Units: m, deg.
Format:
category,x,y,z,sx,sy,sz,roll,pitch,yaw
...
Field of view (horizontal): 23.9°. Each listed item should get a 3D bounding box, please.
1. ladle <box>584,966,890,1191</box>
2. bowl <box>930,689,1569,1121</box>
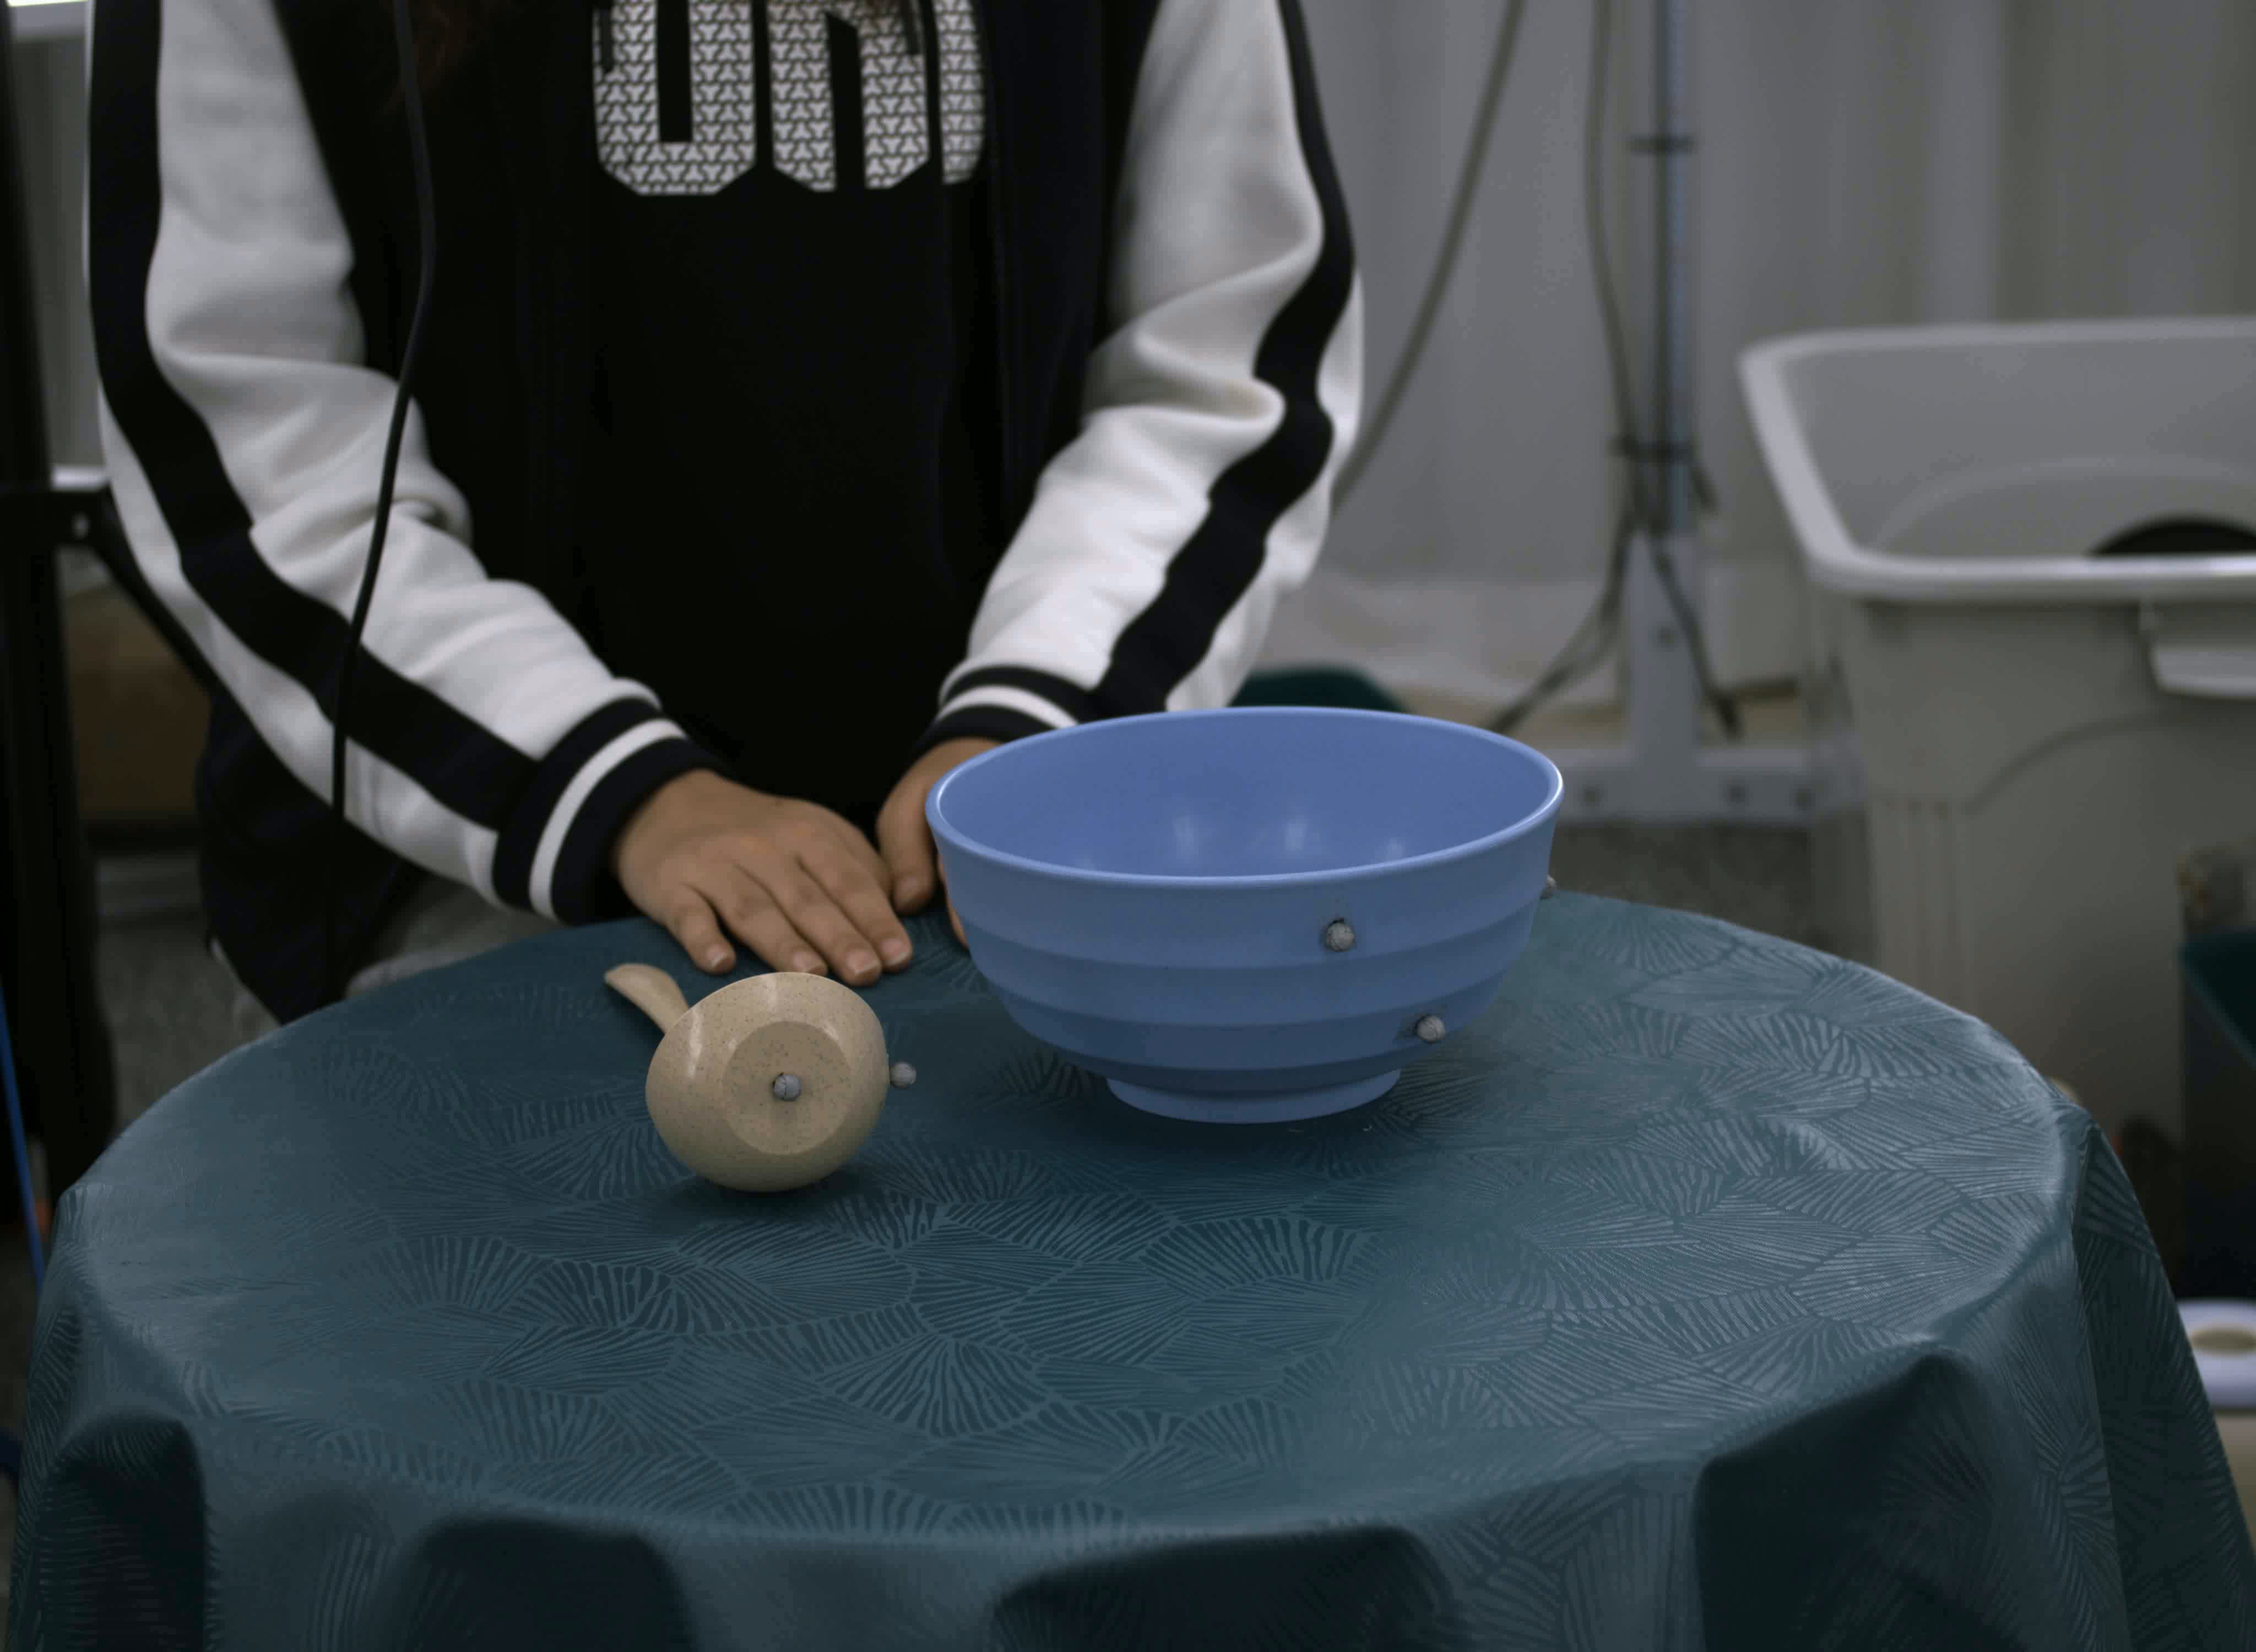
category,x,y,z,sx,sy,sz,roll,pitch,yaw
ladle,-0.136,0.048,1.658,0.071,0.073,0.258,-6,16,-17
bowl,0.037,0.031,1.643,0.195,0.095,0.197,-1,18,-1
